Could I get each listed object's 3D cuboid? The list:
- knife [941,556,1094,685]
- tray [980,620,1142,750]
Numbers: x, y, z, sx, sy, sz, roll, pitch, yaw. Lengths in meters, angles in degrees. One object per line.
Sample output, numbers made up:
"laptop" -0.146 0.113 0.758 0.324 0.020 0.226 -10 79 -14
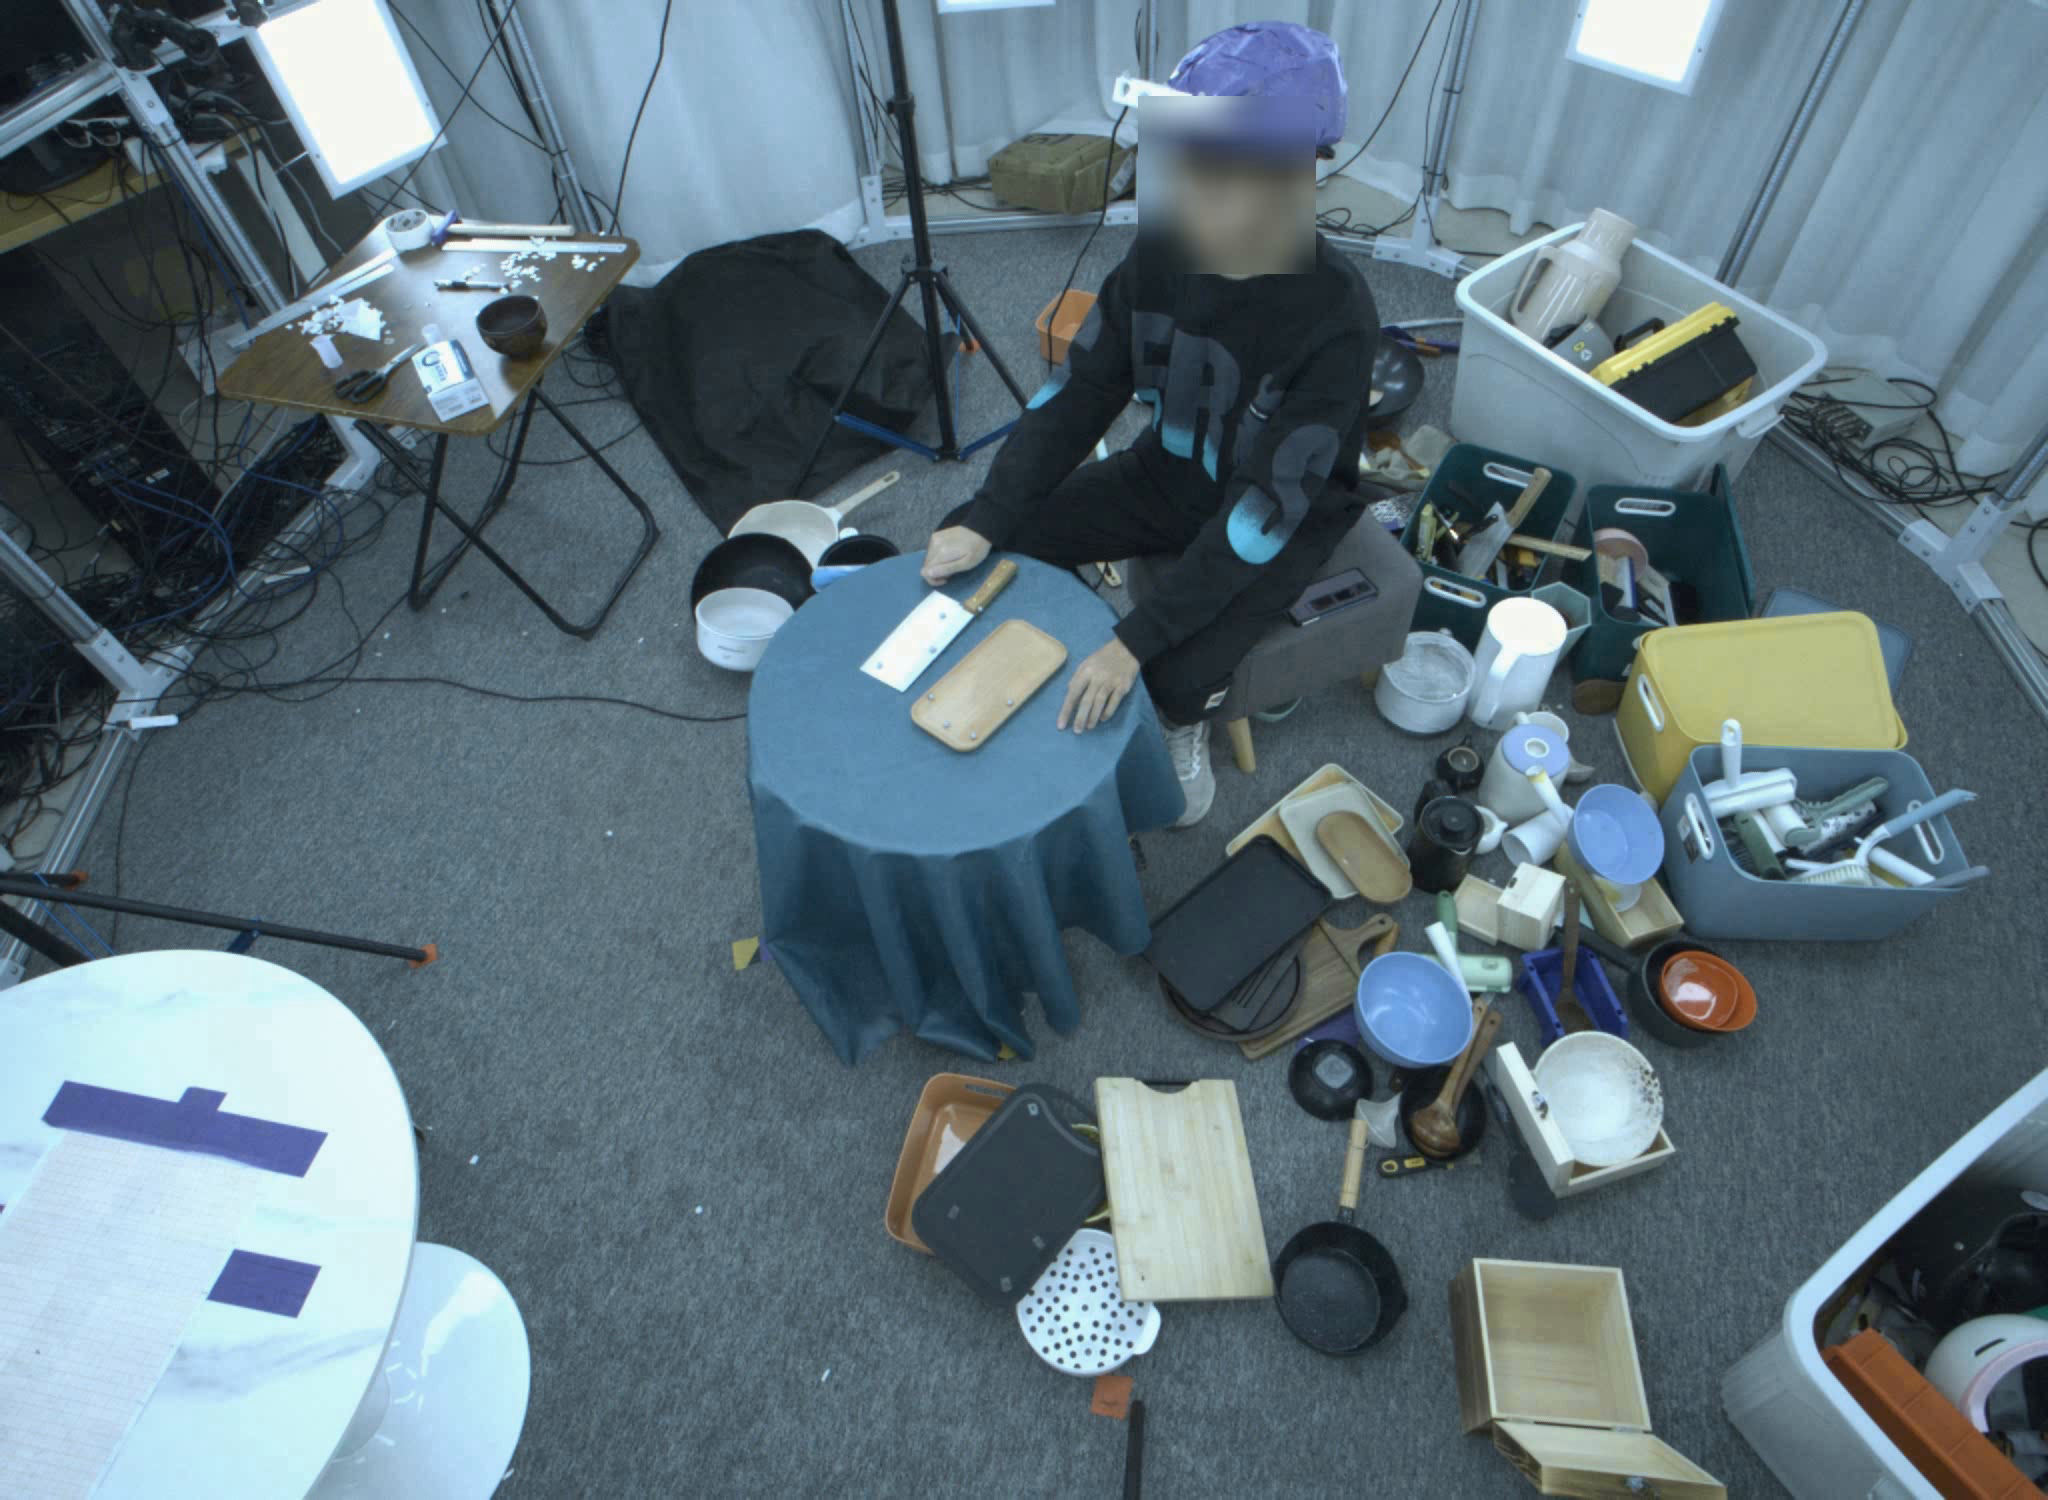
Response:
"knife" -0.013 -0.216 1.931 0.091 0.021 0.307 33 64 25
"tray" 0.056 -0.099 1.845 0.252 0.023 0.128 -39 64 -23
